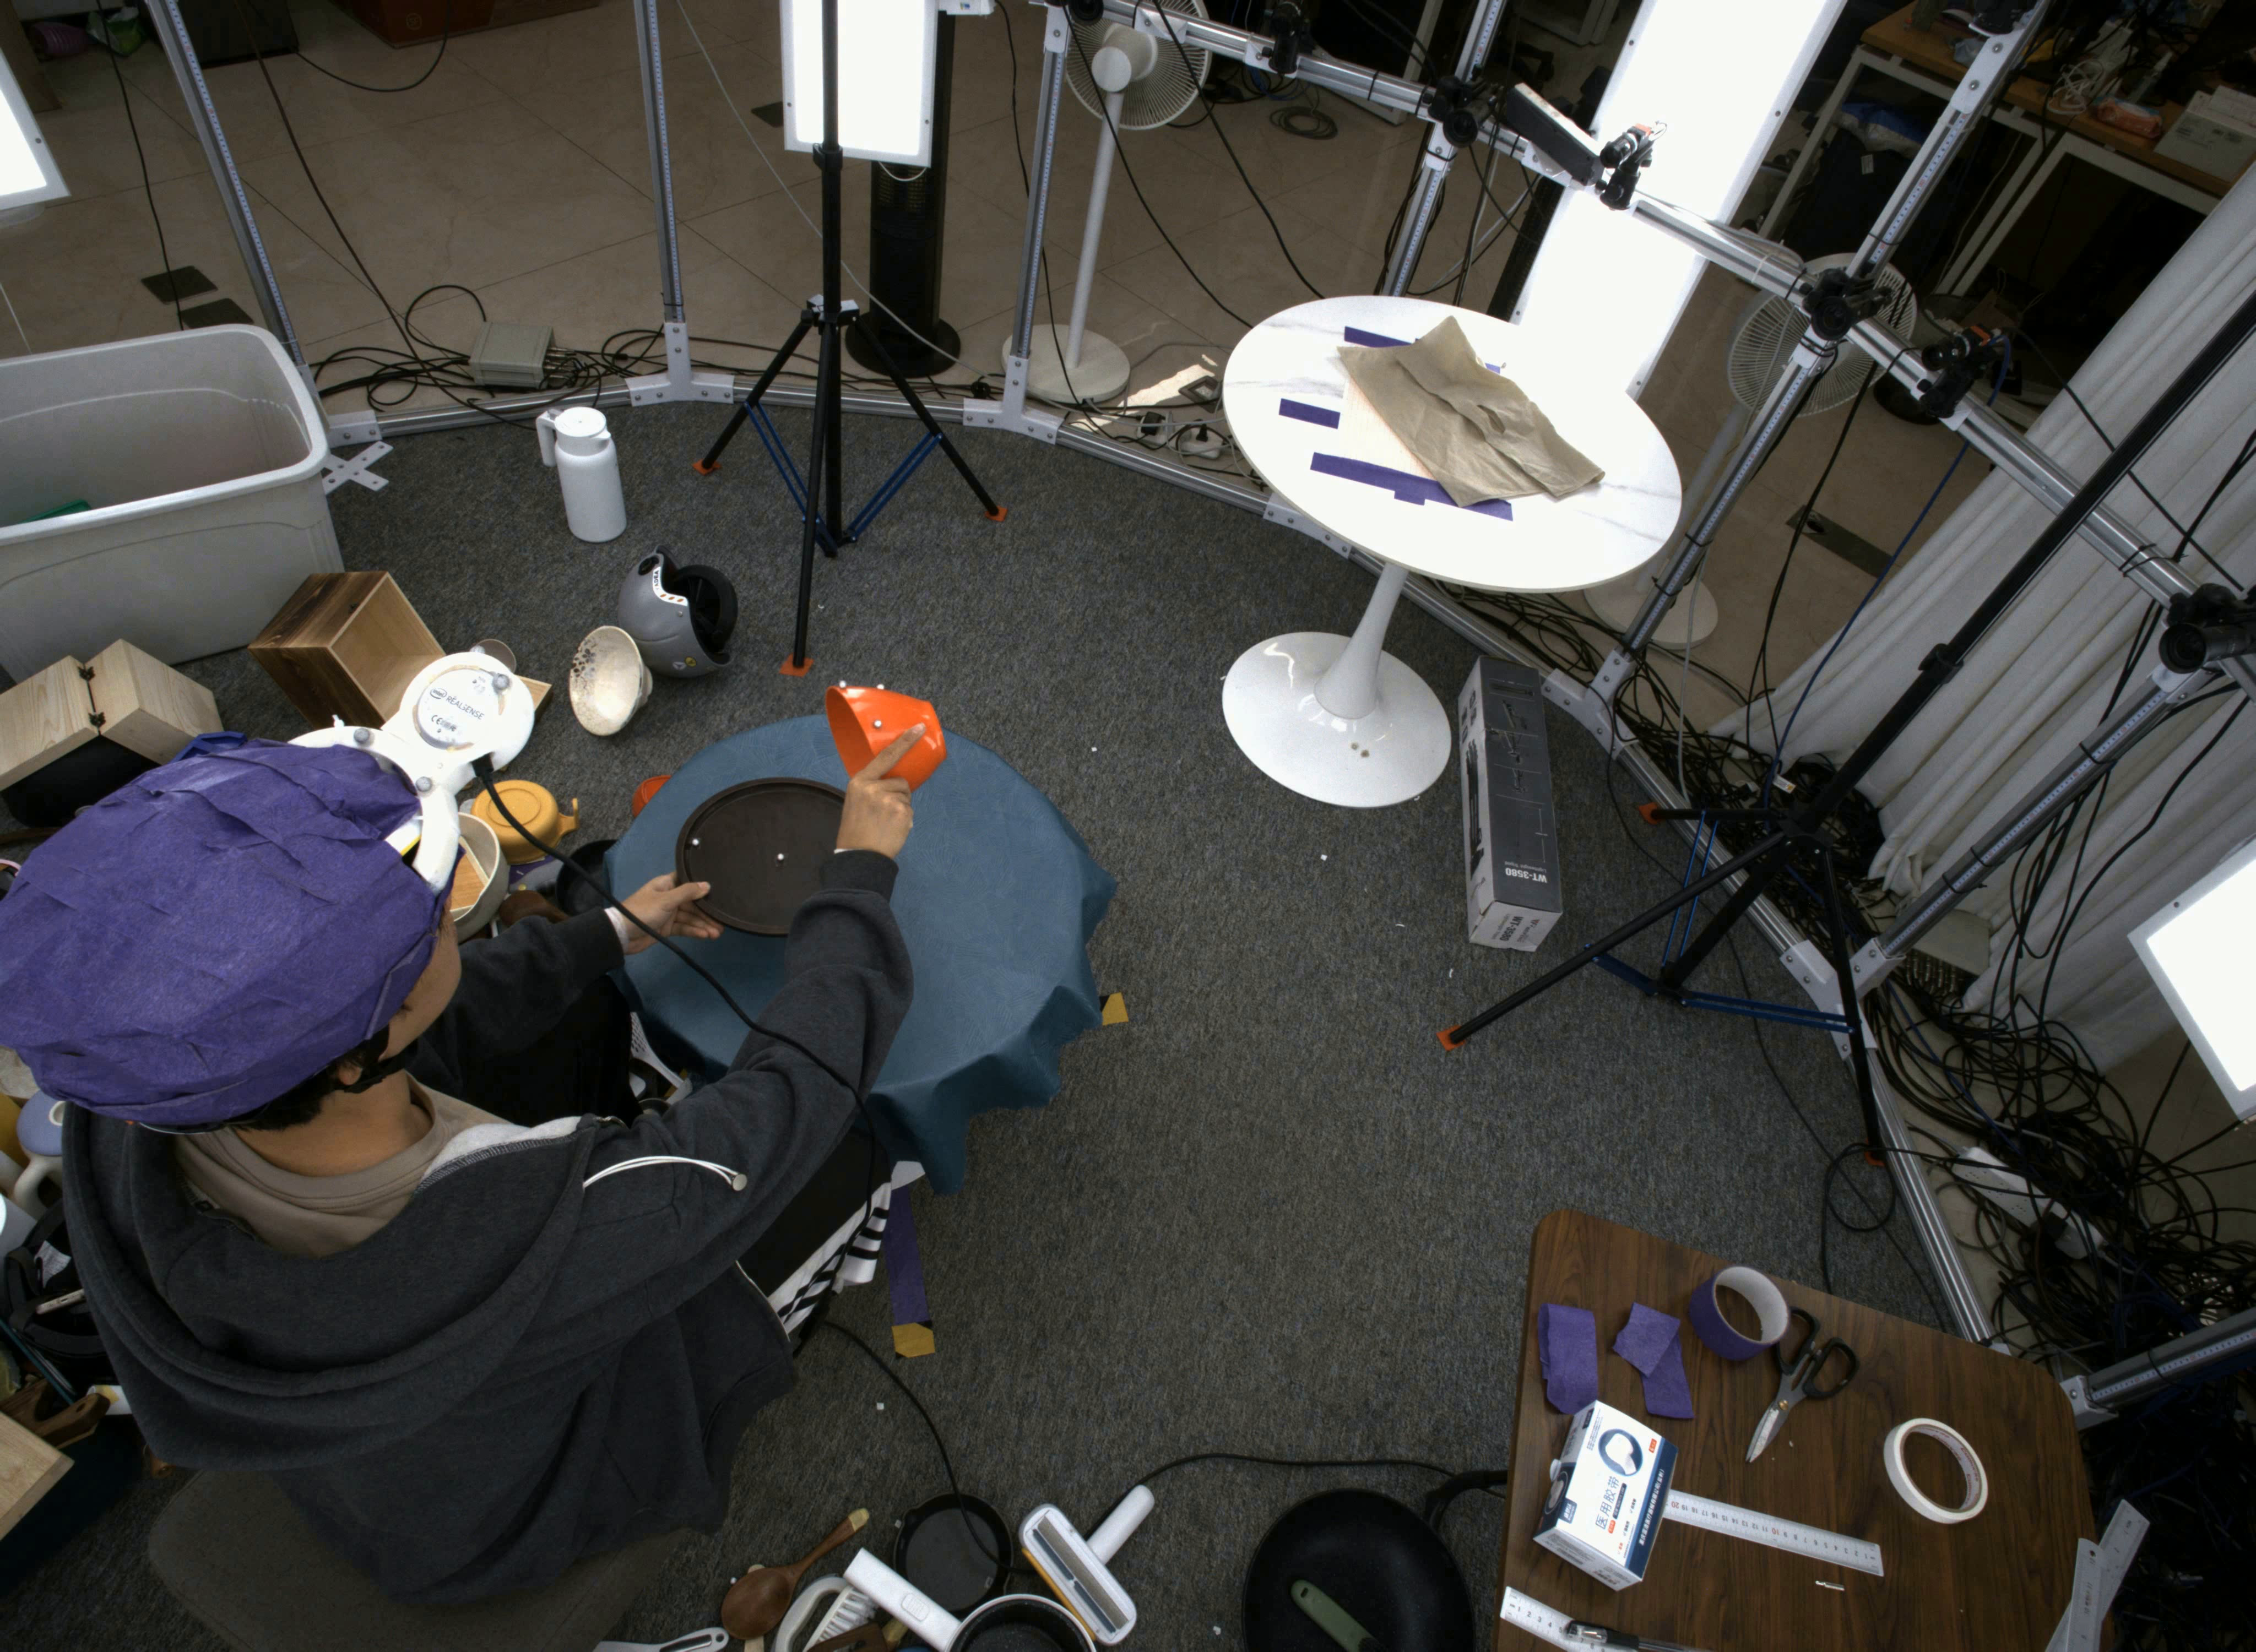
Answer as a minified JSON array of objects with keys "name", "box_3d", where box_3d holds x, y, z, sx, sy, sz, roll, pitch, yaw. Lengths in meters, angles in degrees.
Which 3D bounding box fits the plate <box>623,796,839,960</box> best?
[{"name":"plate","box_3d":[-0.474,0.058,1.546,0.254,0.029,0.250,10,47,-9]}]

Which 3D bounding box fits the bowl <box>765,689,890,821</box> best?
[{"name":"bowl","box_3d":[-0.319,-0.088,1.395,0.105,0.152,0.144,-21,59,-17]}]
